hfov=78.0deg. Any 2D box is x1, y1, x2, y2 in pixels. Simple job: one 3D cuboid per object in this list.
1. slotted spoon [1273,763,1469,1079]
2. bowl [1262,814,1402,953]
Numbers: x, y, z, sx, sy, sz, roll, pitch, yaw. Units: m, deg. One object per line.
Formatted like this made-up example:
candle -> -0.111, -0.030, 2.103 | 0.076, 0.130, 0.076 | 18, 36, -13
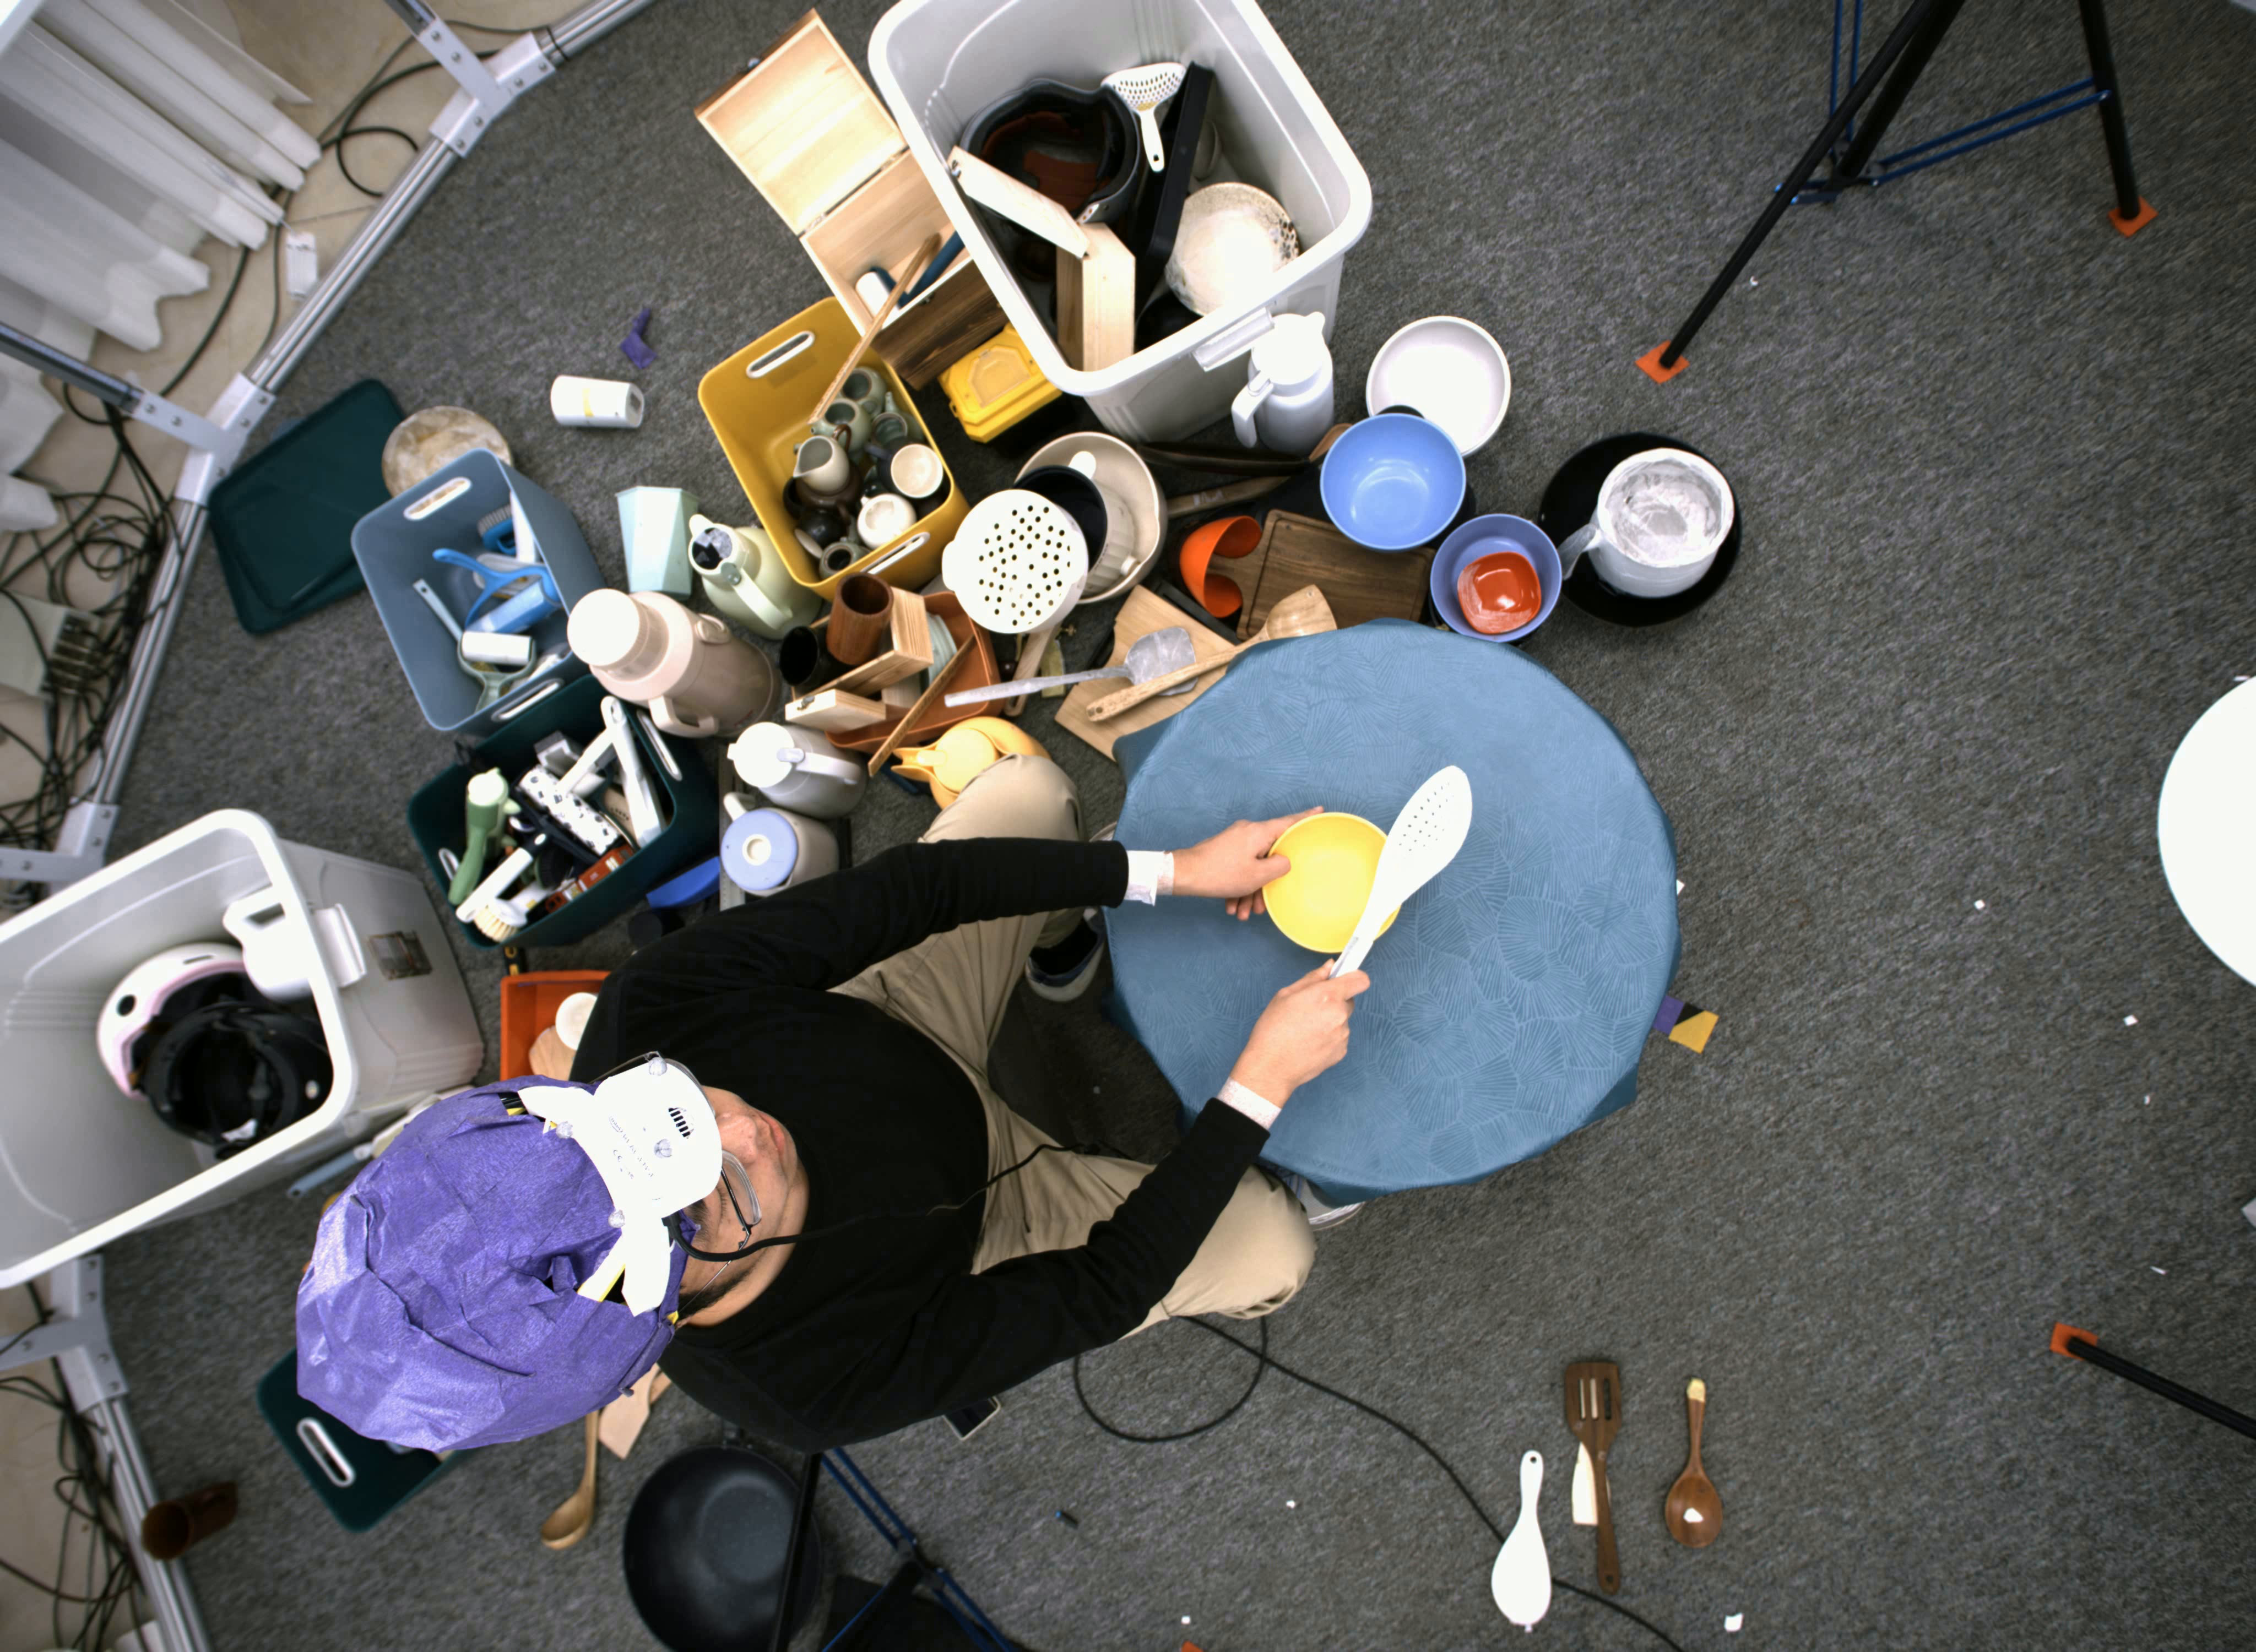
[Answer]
slotted spoon -> 0.236, 0.093, 1.348 | 0.046, 0.135, 0.351 | 34, 94, -8
bowl -> 0.214, 0.062, 1.445 | 0.146, 0.060, 0.144 | -1, 84, 11
